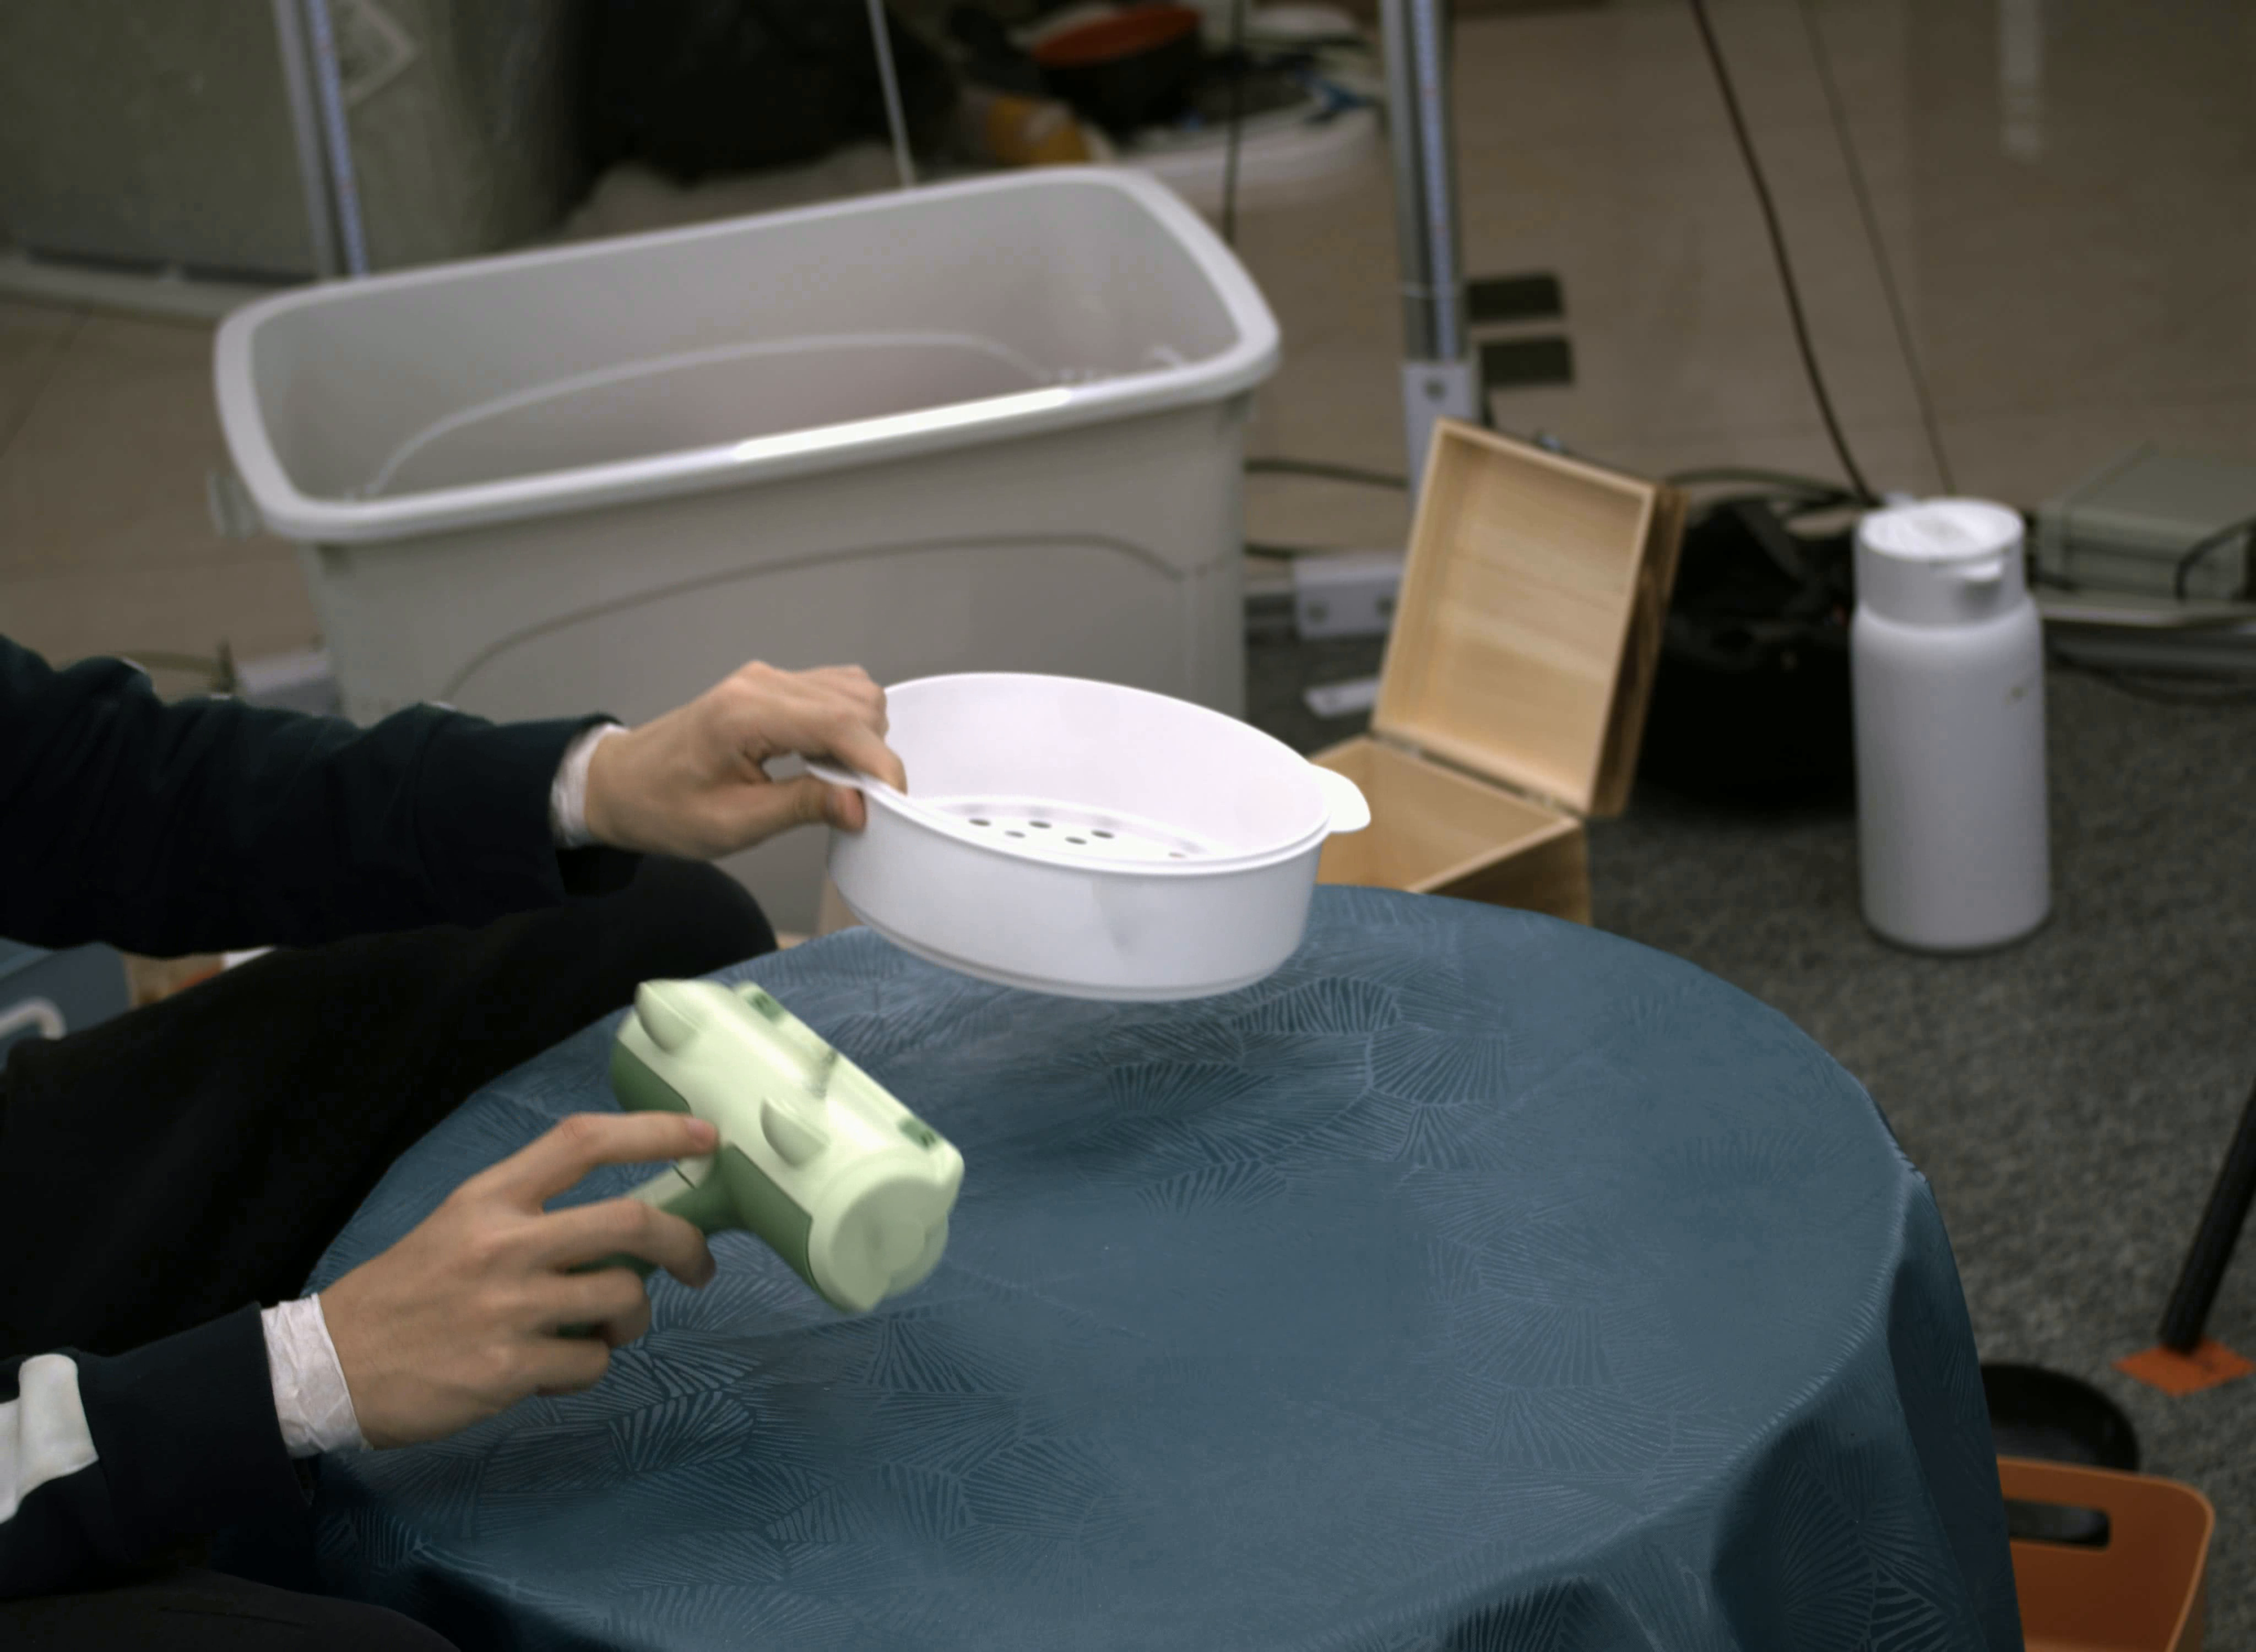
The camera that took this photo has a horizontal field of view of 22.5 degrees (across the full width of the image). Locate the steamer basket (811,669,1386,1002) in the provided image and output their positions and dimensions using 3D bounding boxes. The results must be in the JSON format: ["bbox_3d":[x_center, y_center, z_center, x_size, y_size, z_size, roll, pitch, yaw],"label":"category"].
[{"bbox_3d":[-0.016,0.004,2.237,0.230,0.070,0.199,7,21,-11],"label":"steamer basket"}]

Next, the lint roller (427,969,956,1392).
[{"bbox_3d":[-0.177,0.126,2.000,0.182,0.083,0.196,-29,30,-16],"label":"lint roller"}]
